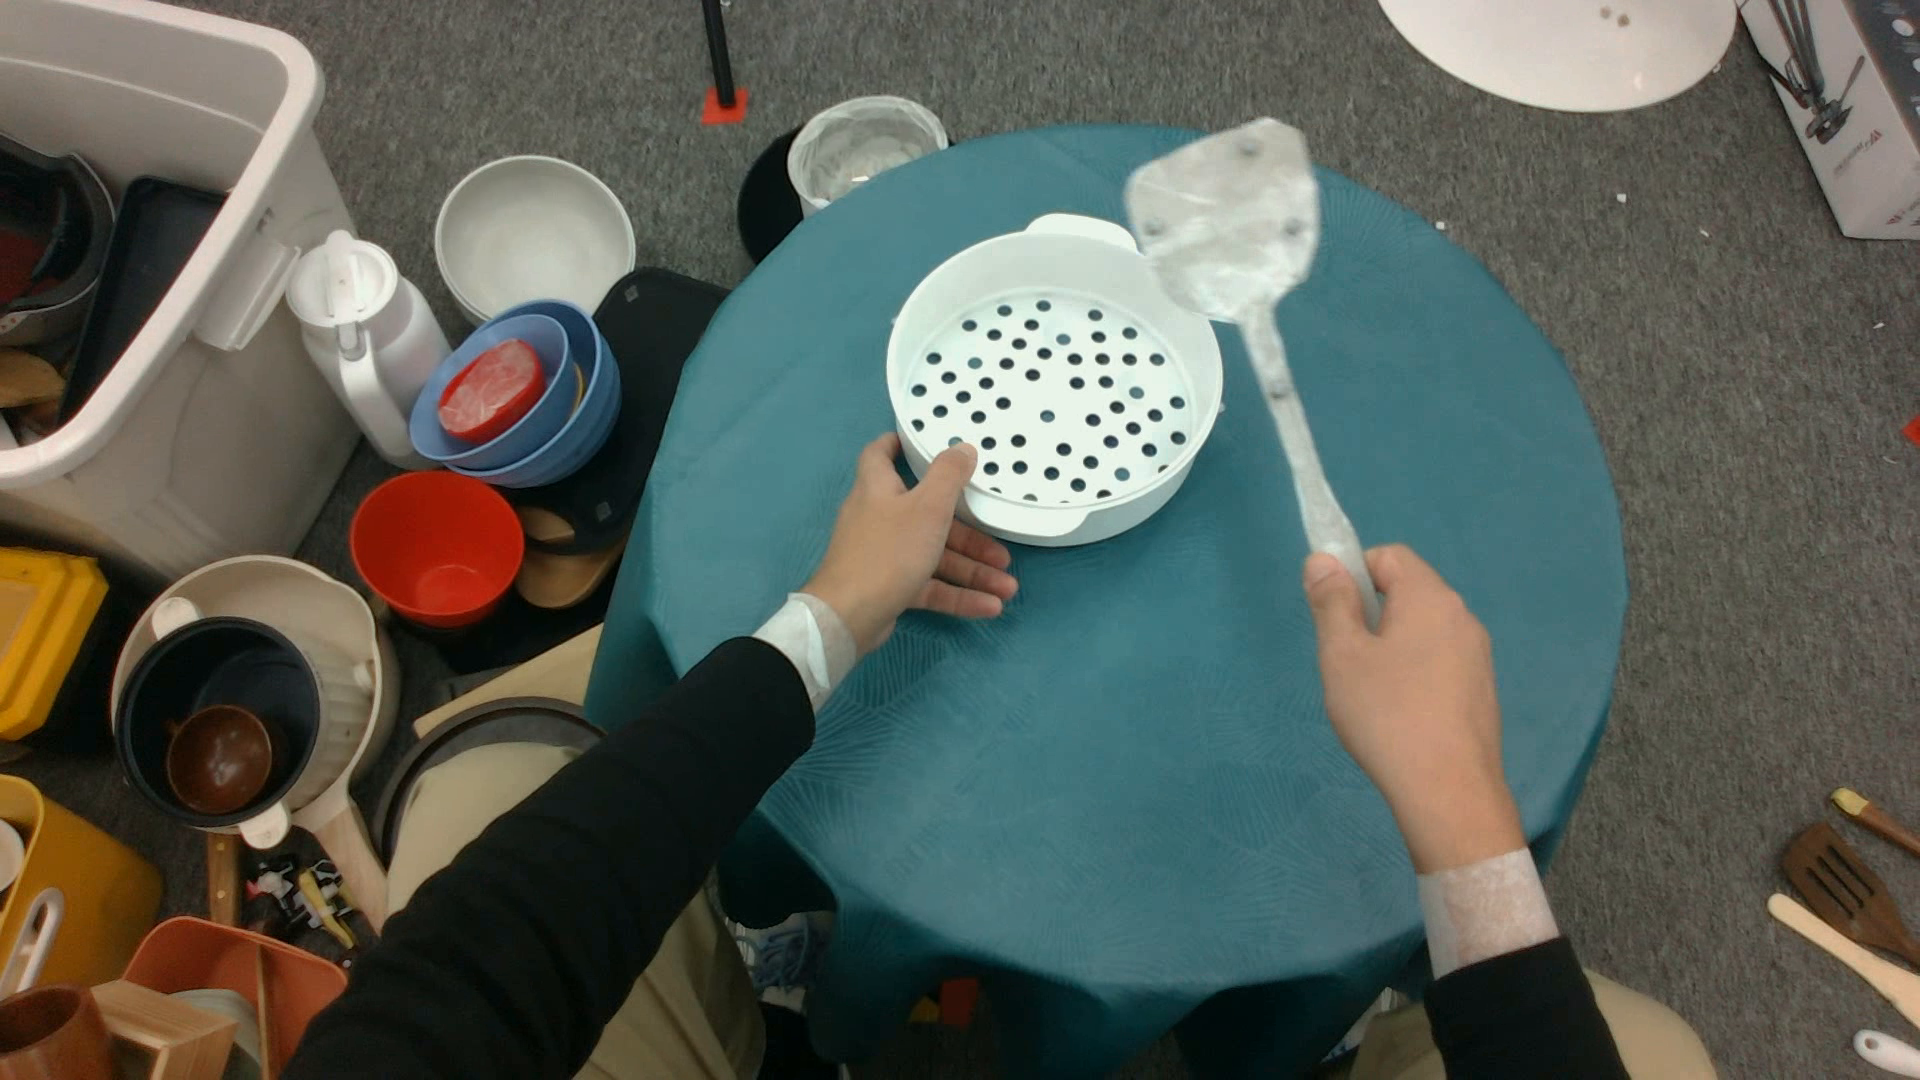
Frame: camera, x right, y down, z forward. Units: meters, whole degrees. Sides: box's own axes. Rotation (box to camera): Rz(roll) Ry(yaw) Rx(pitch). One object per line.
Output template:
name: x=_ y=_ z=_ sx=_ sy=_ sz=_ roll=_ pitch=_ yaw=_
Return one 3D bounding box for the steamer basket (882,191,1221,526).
steamer basket: x=0.055 y=-0.105 z=0.846 sx=0.202 sy=0.069 sz=0.231 roll=11 pitch=65 yaw=5

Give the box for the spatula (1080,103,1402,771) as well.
spatula: x=0.151 y=-0.064 z=0.685 sx=0.098 sy=0.044 sz=0.366 roll=-20 pitch=62 yaw=11
